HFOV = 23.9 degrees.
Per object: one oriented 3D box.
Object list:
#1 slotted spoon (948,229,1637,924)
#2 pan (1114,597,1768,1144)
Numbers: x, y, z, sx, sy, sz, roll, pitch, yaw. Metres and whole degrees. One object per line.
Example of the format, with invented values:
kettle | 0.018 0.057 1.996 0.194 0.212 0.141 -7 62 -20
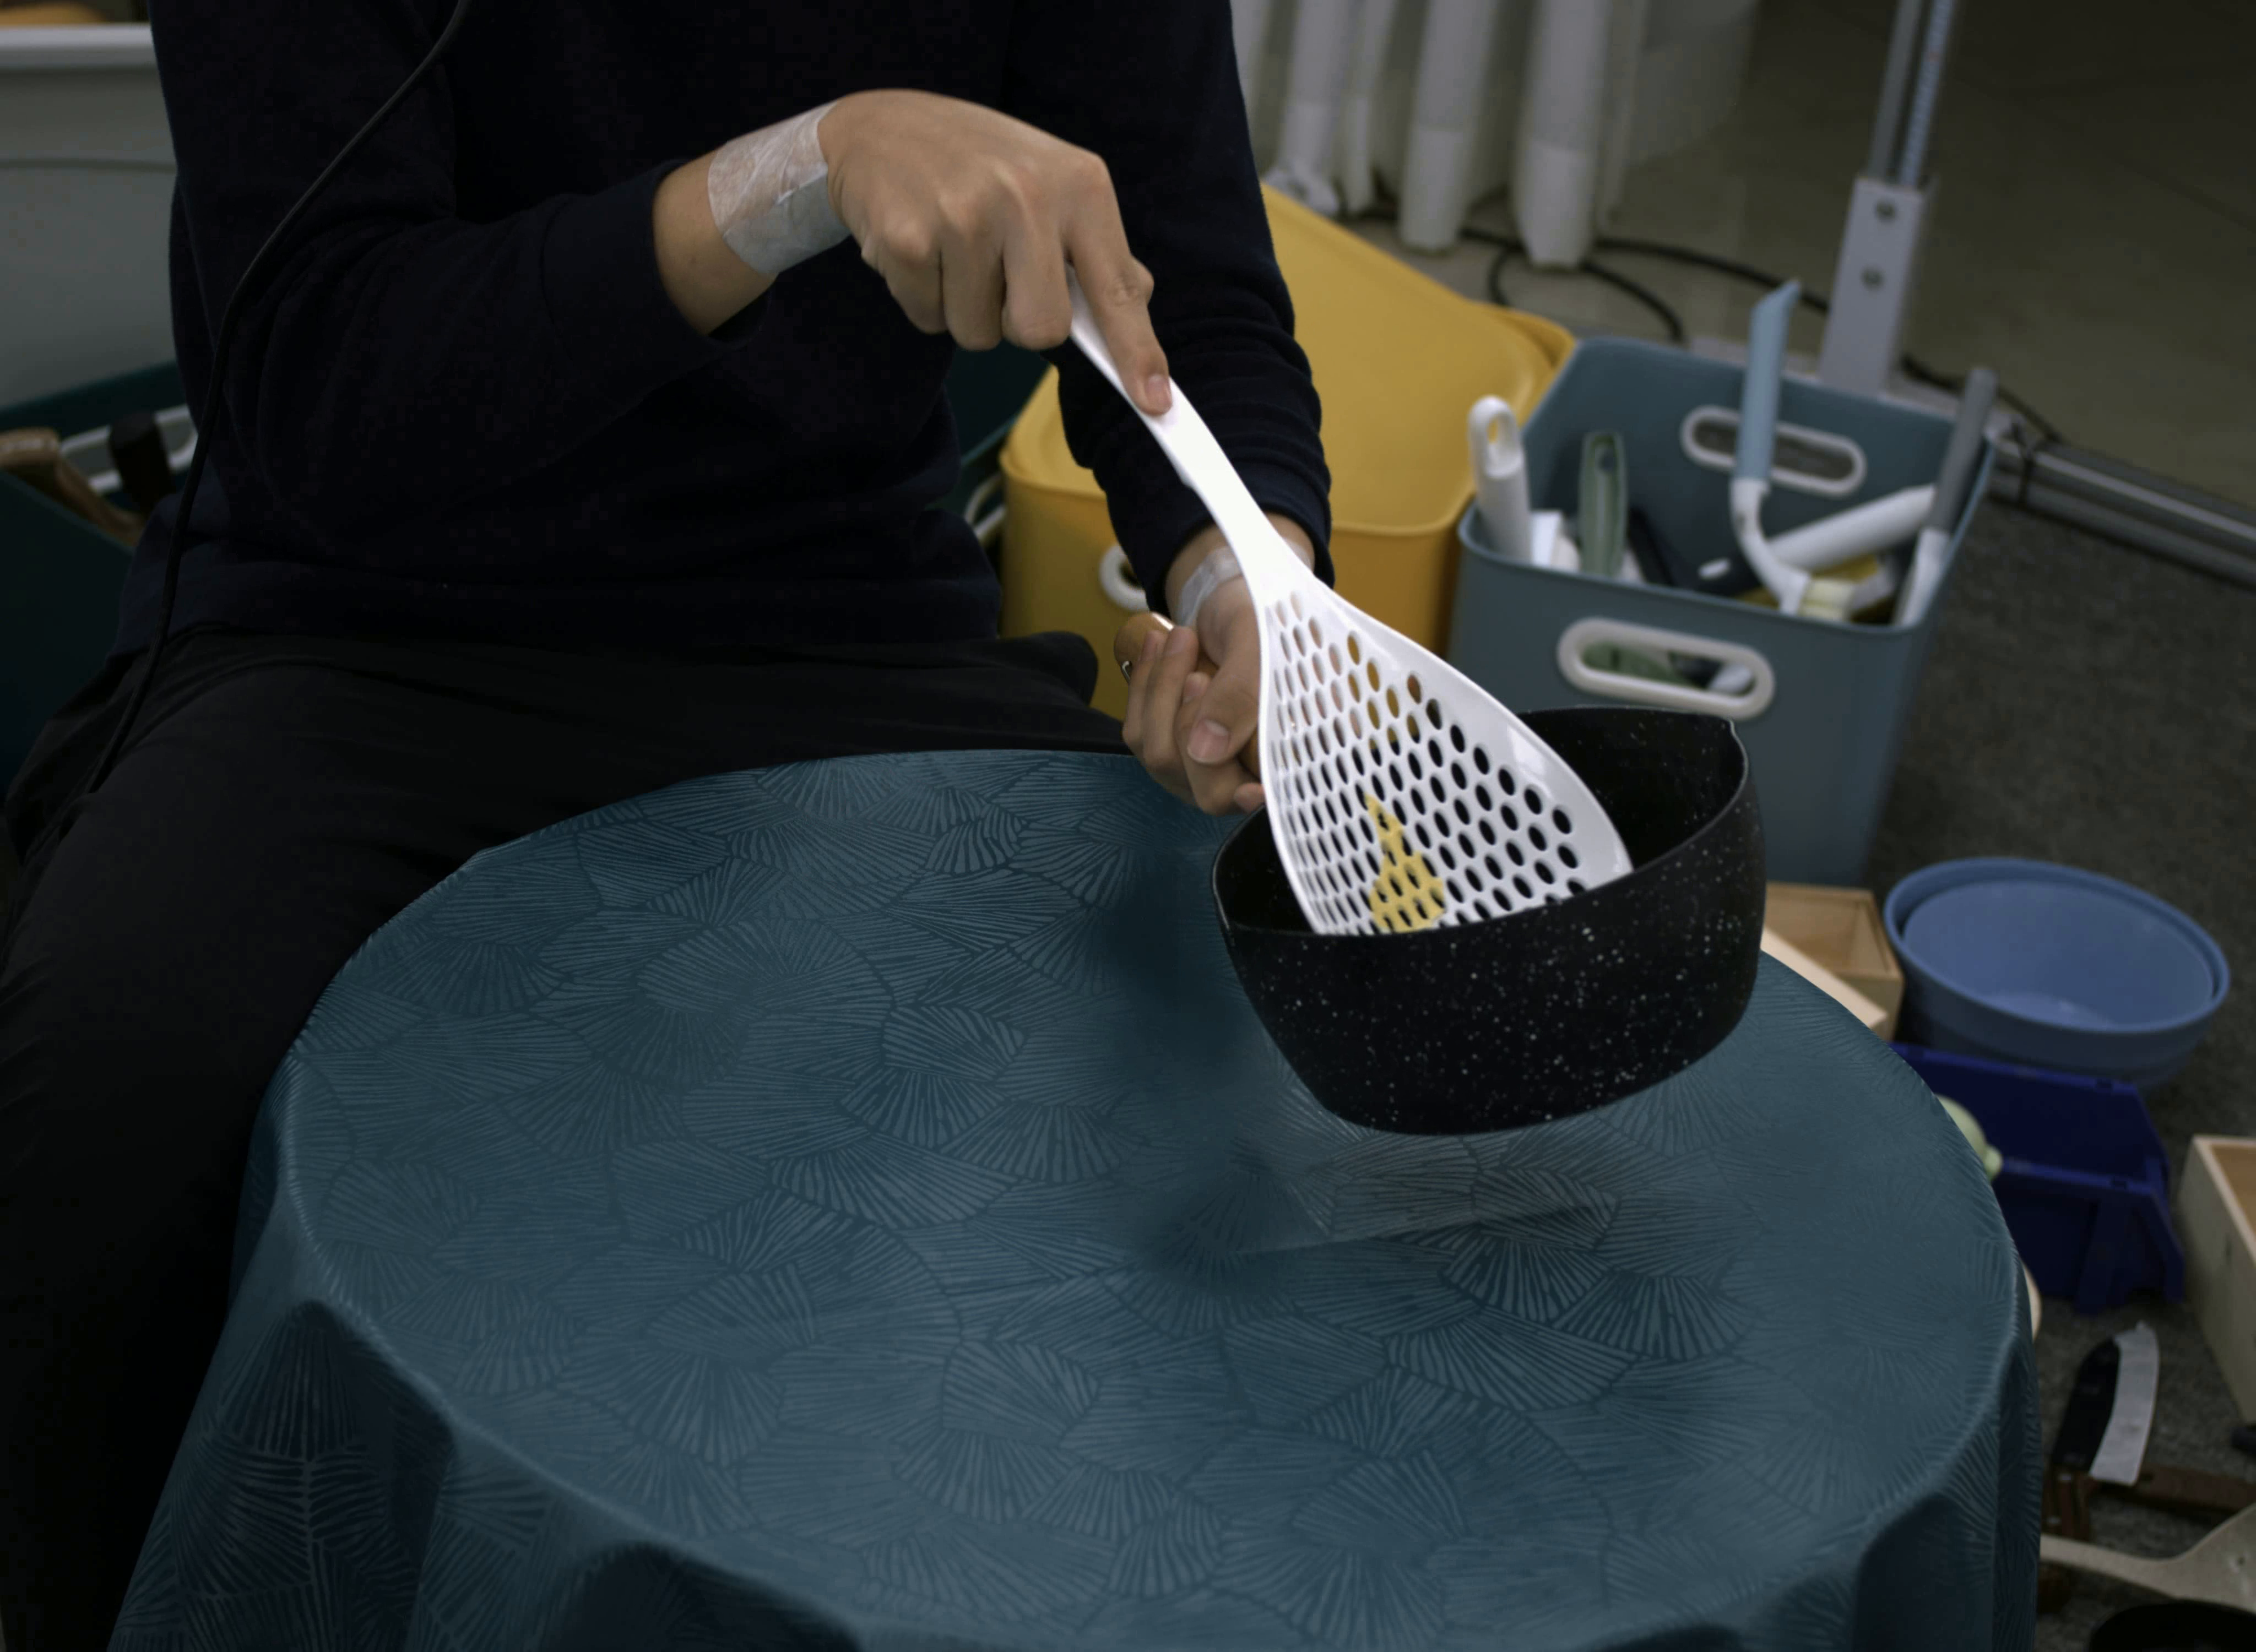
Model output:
slotted spoon | 0.049 -0.071 1.819 0.136 0.050 0.349 -28 83 -35
pan | 0.087 0.006 1.847 0.207 0.108 0.345 -24 24 -21
